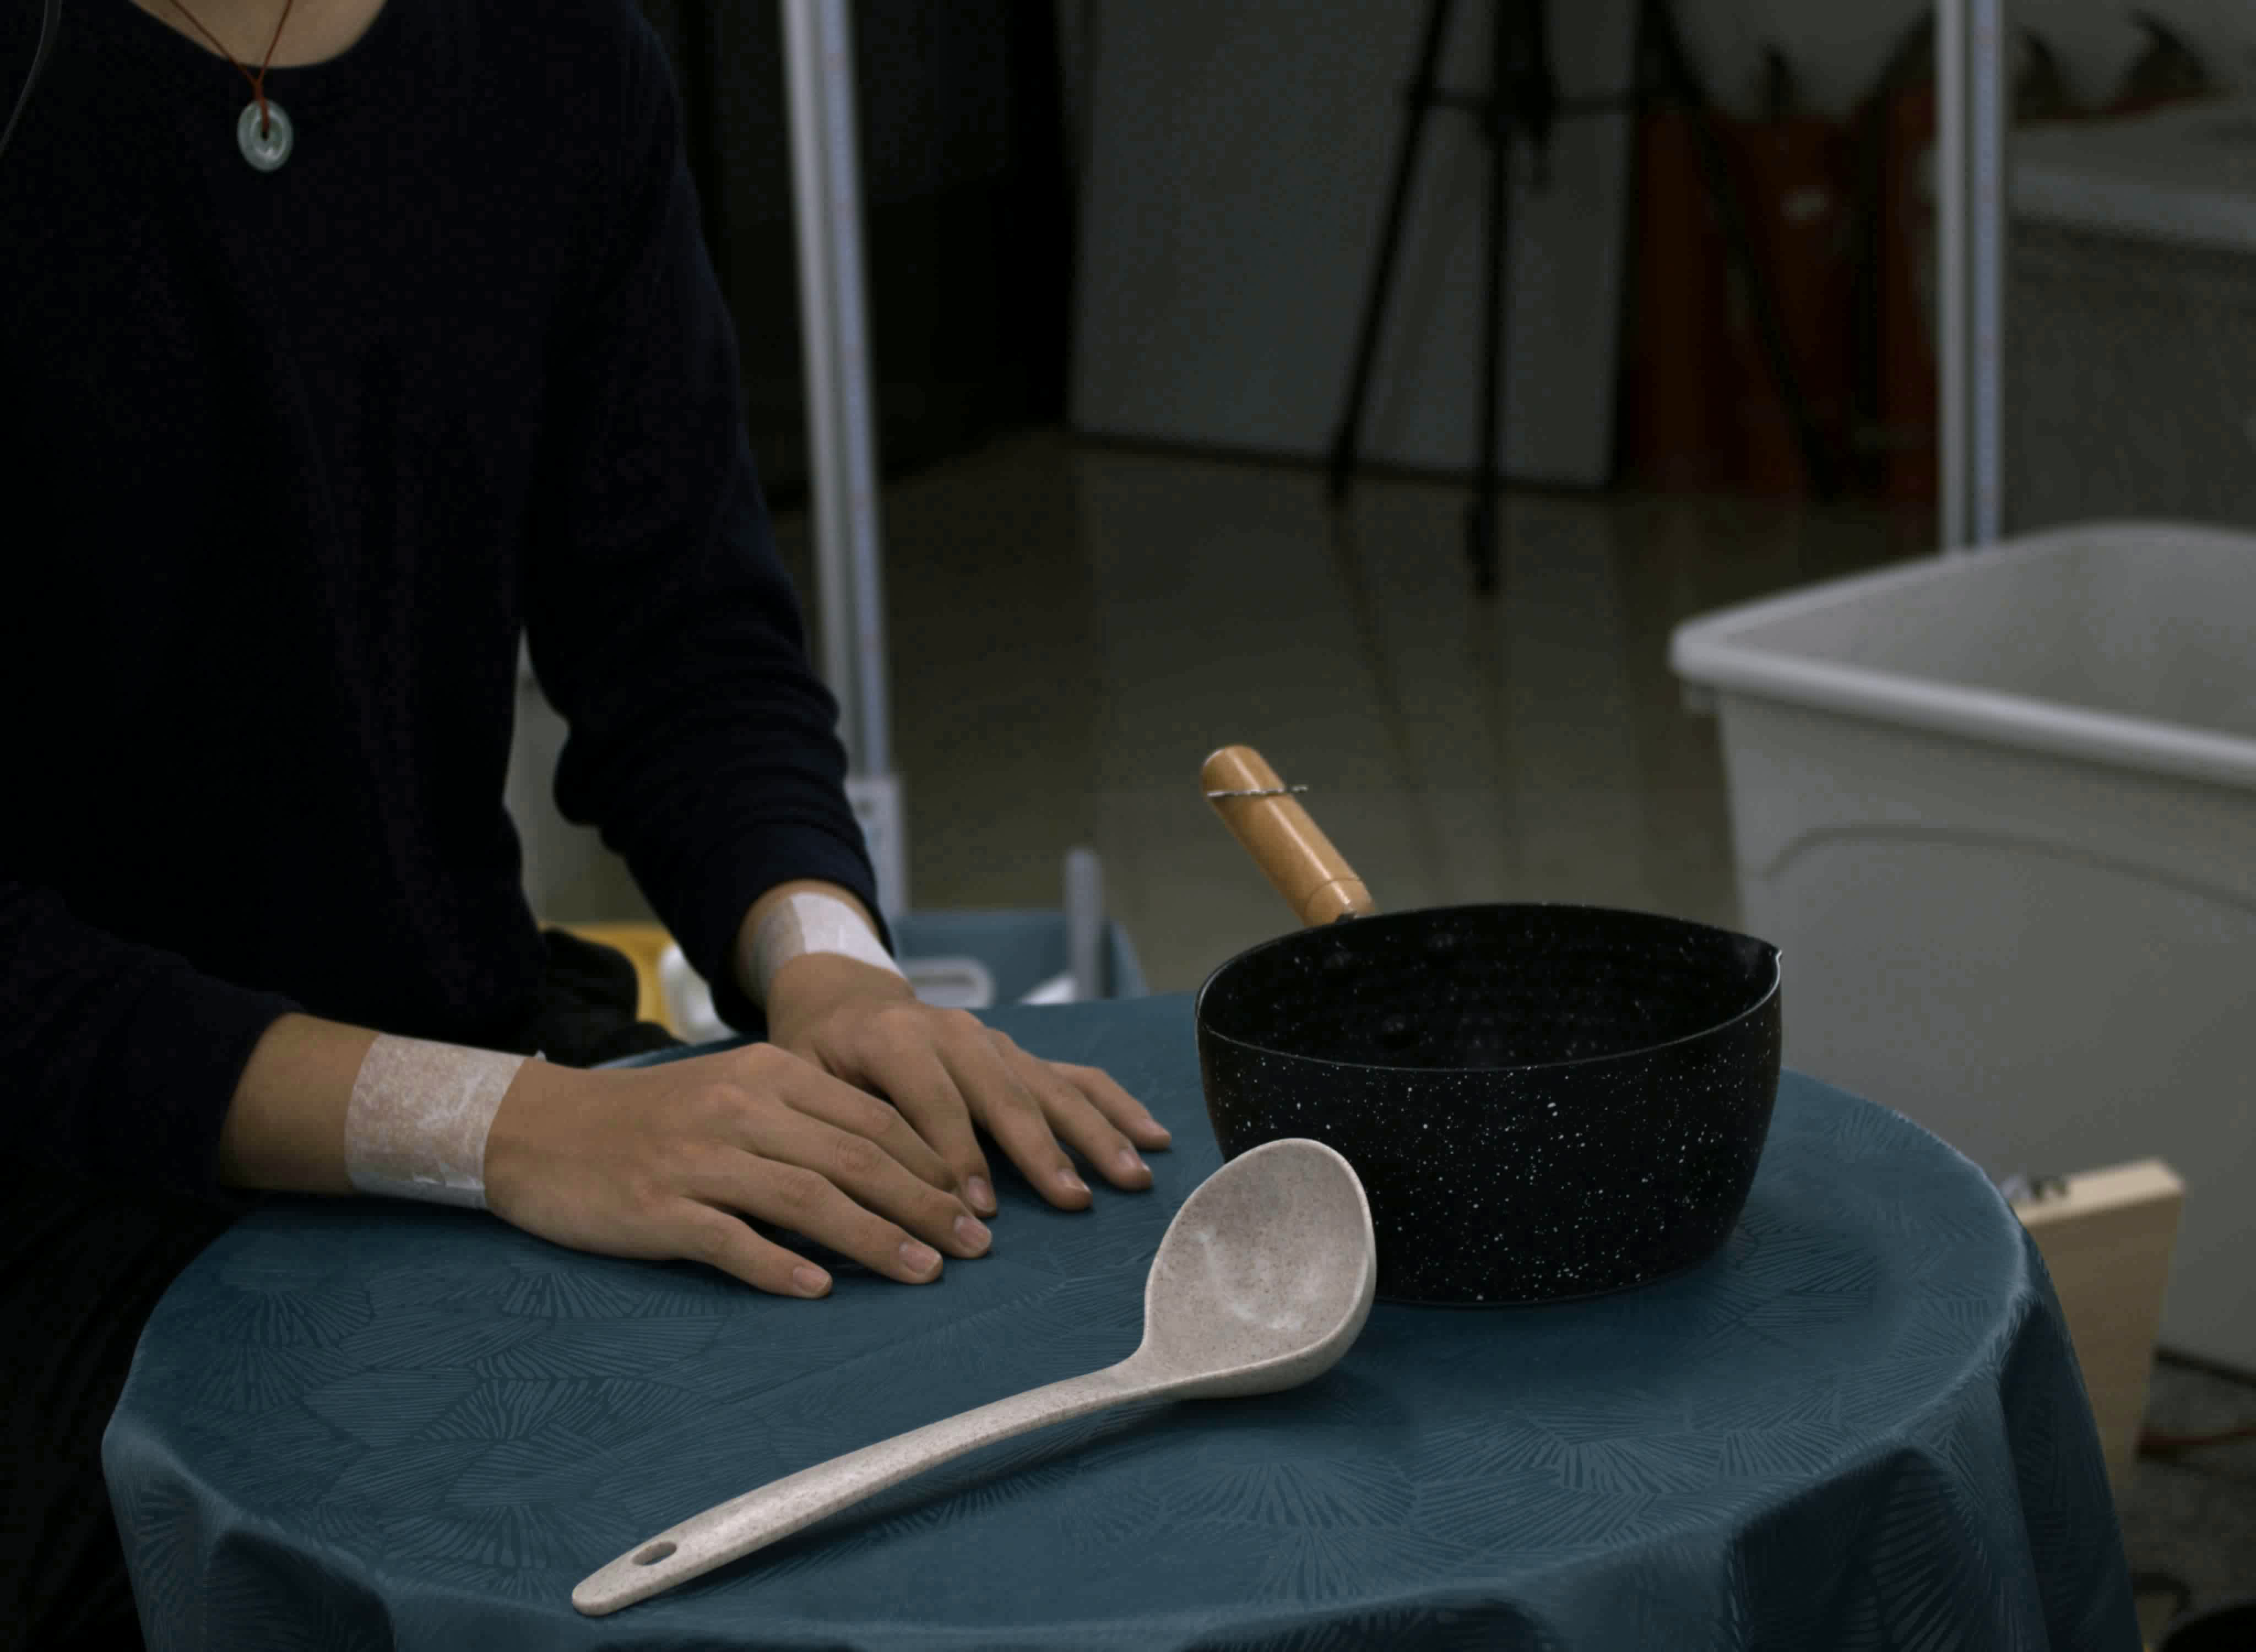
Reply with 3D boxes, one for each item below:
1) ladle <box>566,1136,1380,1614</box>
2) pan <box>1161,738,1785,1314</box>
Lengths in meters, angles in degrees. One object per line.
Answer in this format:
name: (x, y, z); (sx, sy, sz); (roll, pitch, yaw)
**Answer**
ladle: (-0.043, 0.151, 1.517); (0.269, 0.070, 0.090); (-14, 21, -36)
pan: (0.089, 0.060, 1.765); (0.203, 0.109, 0.346); (-10, 16, -16)
